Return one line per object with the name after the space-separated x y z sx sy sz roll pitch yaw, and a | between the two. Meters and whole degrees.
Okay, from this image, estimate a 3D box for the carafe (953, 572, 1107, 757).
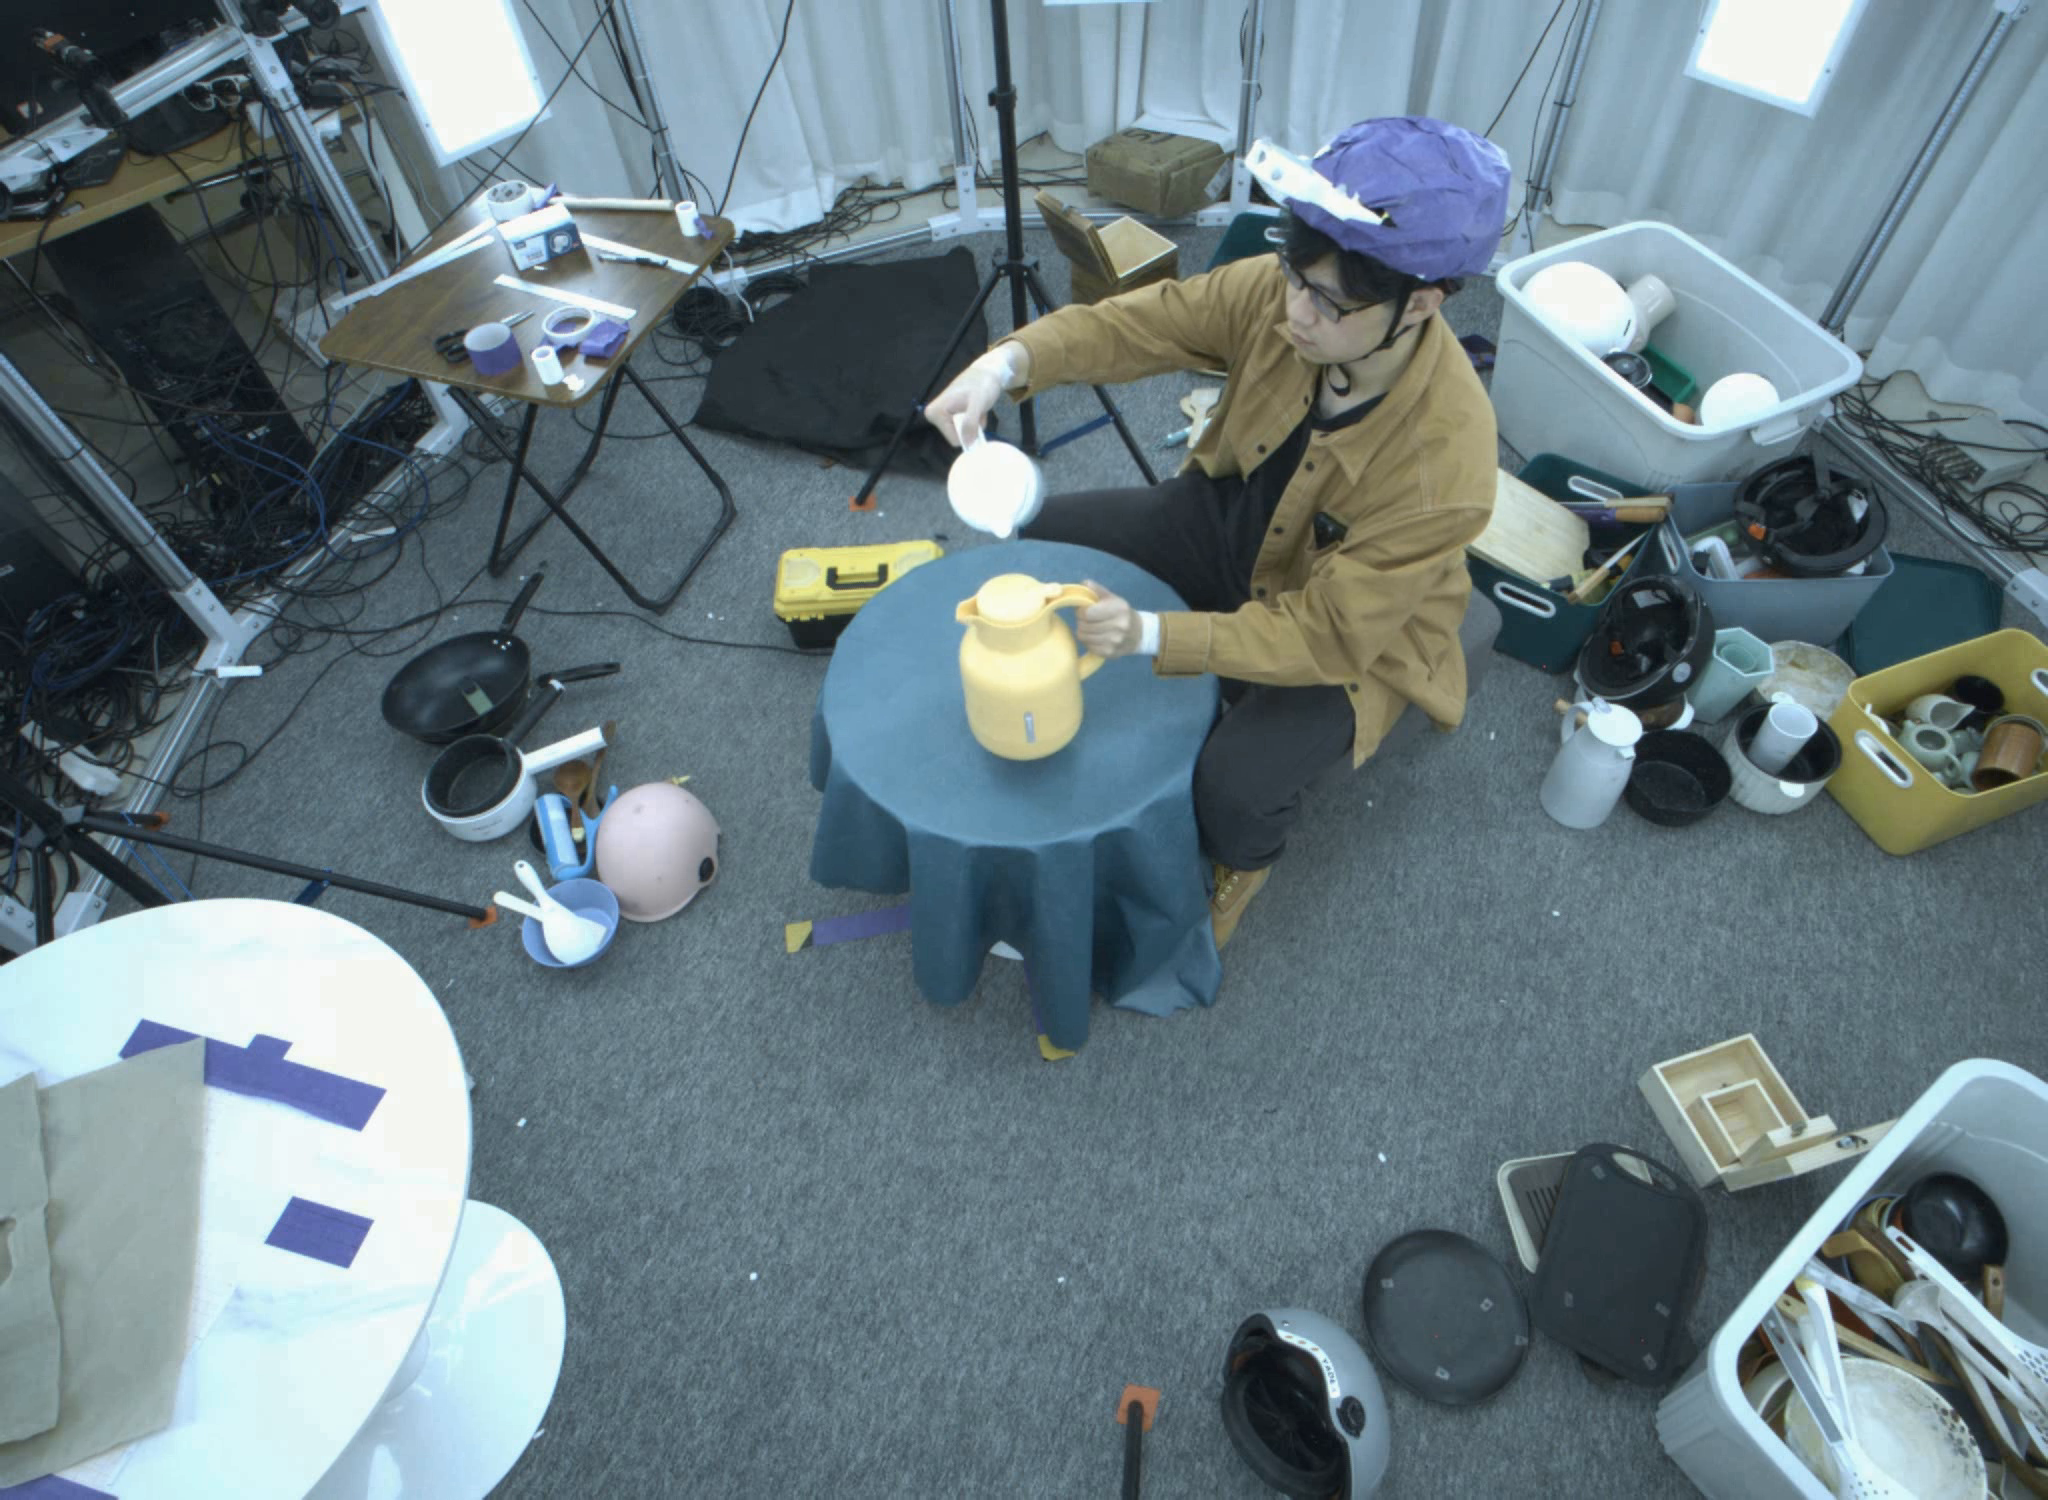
0.013 -0.121 1.652 0.202 0.264 0.161 -10 52 0 | carafe

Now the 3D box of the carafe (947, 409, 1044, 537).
-0.046 -0.371 1.641 0.123 0.268 0.174 -18 99 9 | carafe
